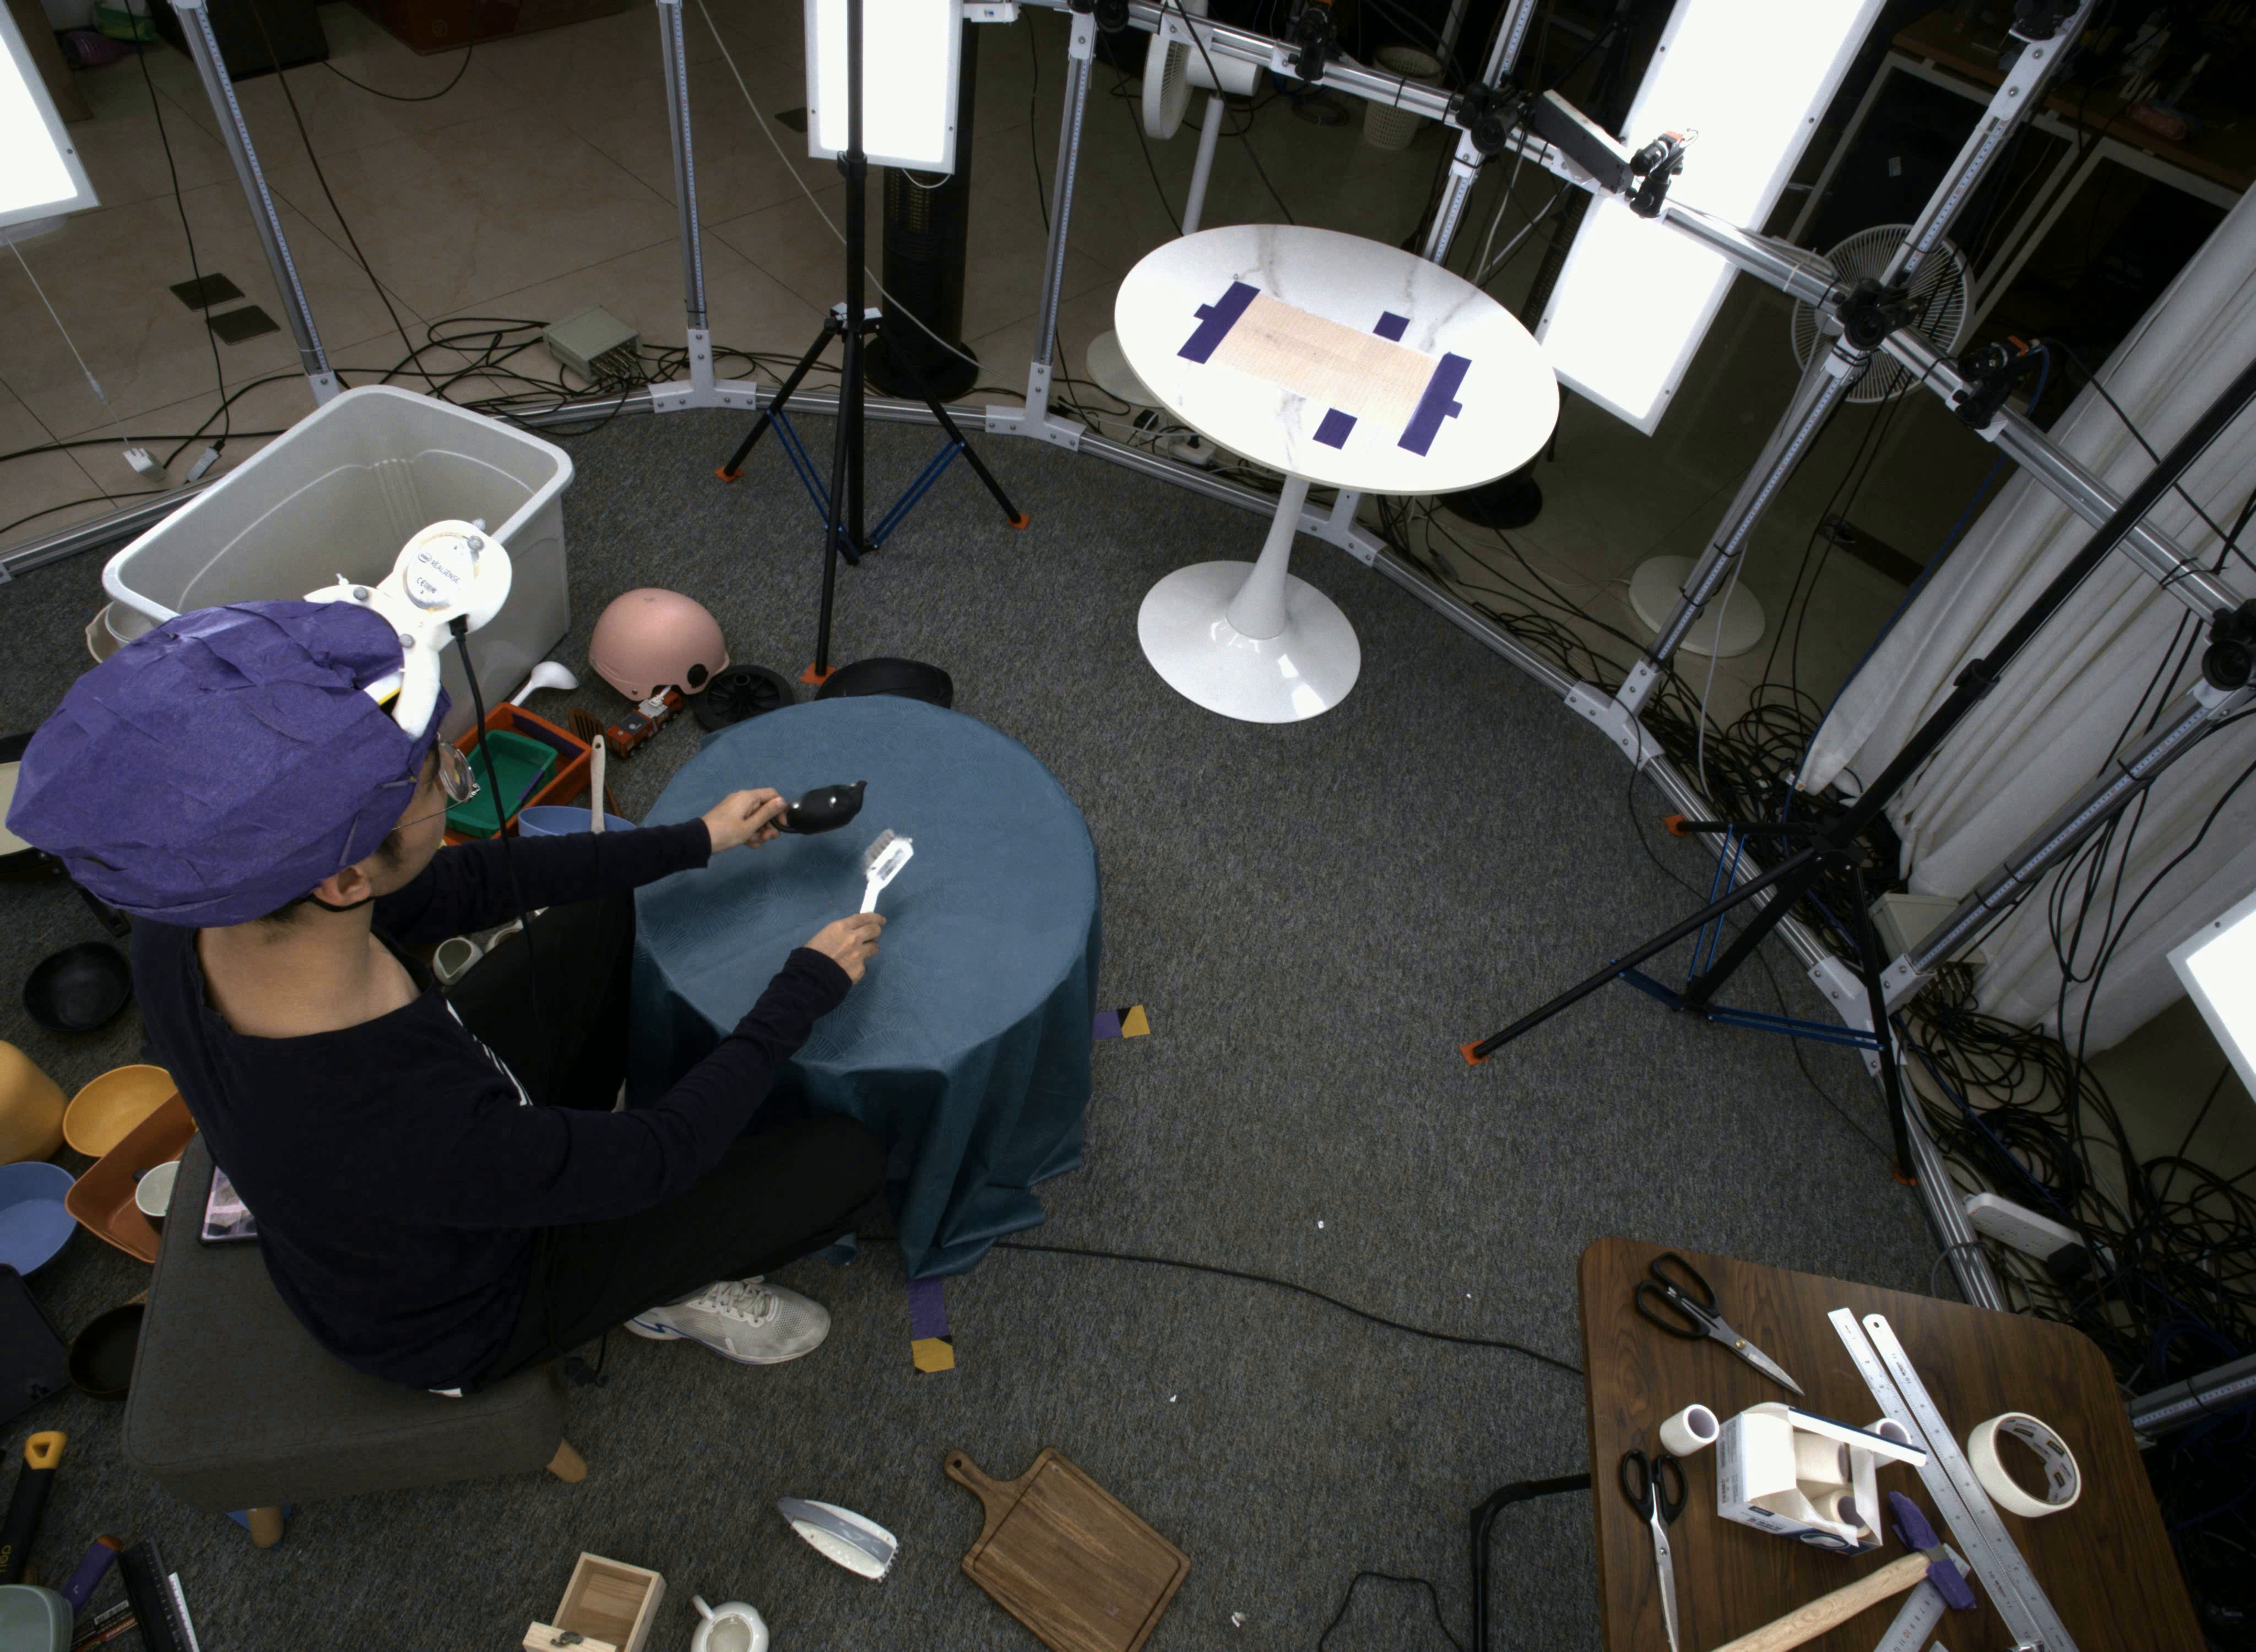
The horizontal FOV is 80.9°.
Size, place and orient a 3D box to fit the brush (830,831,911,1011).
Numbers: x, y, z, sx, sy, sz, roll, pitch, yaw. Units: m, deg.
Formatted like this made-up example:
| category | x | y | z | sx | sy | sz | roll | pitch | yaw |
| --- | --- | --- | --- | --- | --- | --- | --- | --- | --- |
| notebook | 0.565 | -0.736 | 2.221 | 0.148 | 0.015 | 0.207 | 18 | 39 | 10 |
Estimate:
| category | x | y | z | sx | sy | sz | roll | pitch | yaw |
| --- | --- | --- | --- | --- | --- | --- | --- | --- | --- |
| brush | -0.328 | 0.112 | 1.588 | 0.048 | 0.036 | 0.242 | 1 | 58 | 28 |

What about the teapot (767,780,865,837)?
| category | x | y | z | sx | sy | sz | roll | pitch | yaw |
| --- | --- | --- | --- | --- | --- | --- | --- | --- | --- |
| teapot | -0.392 | -0.021 | 1.650 | 0.134 | 0.090 | 0.053 | -15 | 85 | -26 |
